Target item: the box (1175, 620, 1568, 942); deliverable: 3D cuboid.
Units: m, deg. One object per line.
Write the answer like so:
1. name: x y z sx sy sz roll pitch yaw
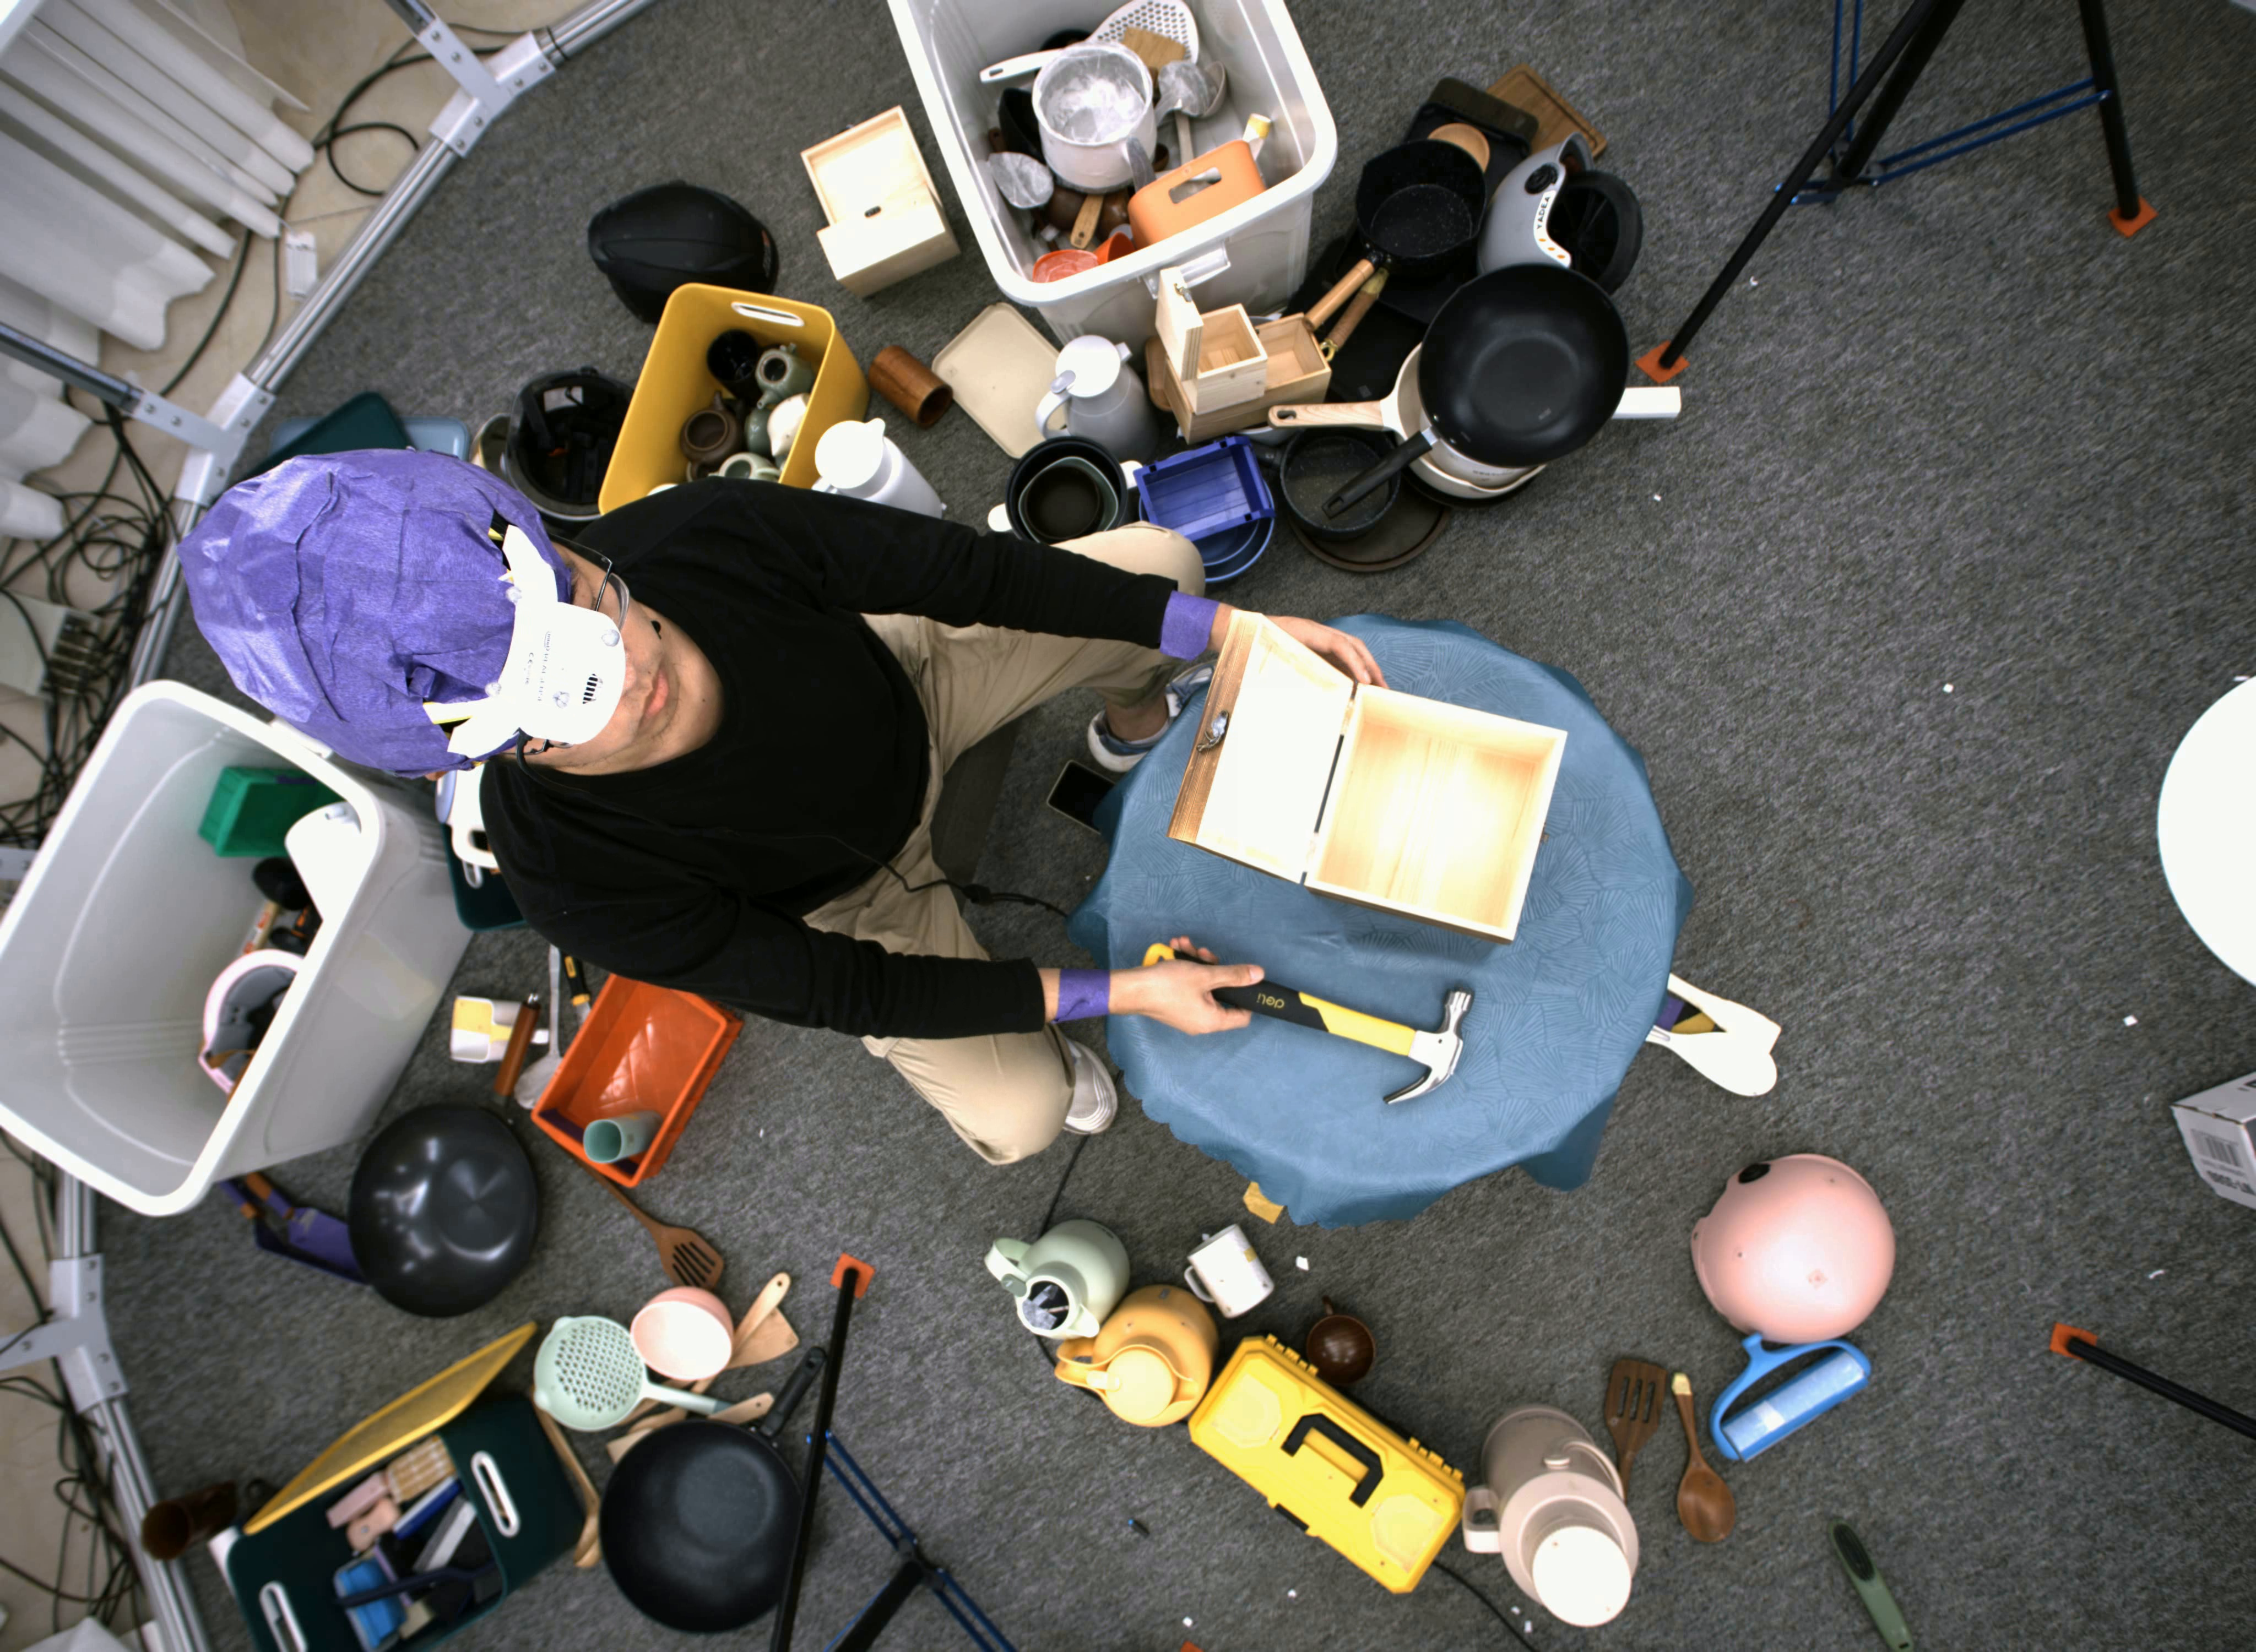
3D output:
1. box: 0.236 -0.029 1.292 0.322 0.375 0.208 15 88 12

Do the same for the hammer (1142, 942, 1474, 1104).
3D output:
1. hammer: 0.179 0.187 1.434 0.339 0.032 0.131 18 92 2
